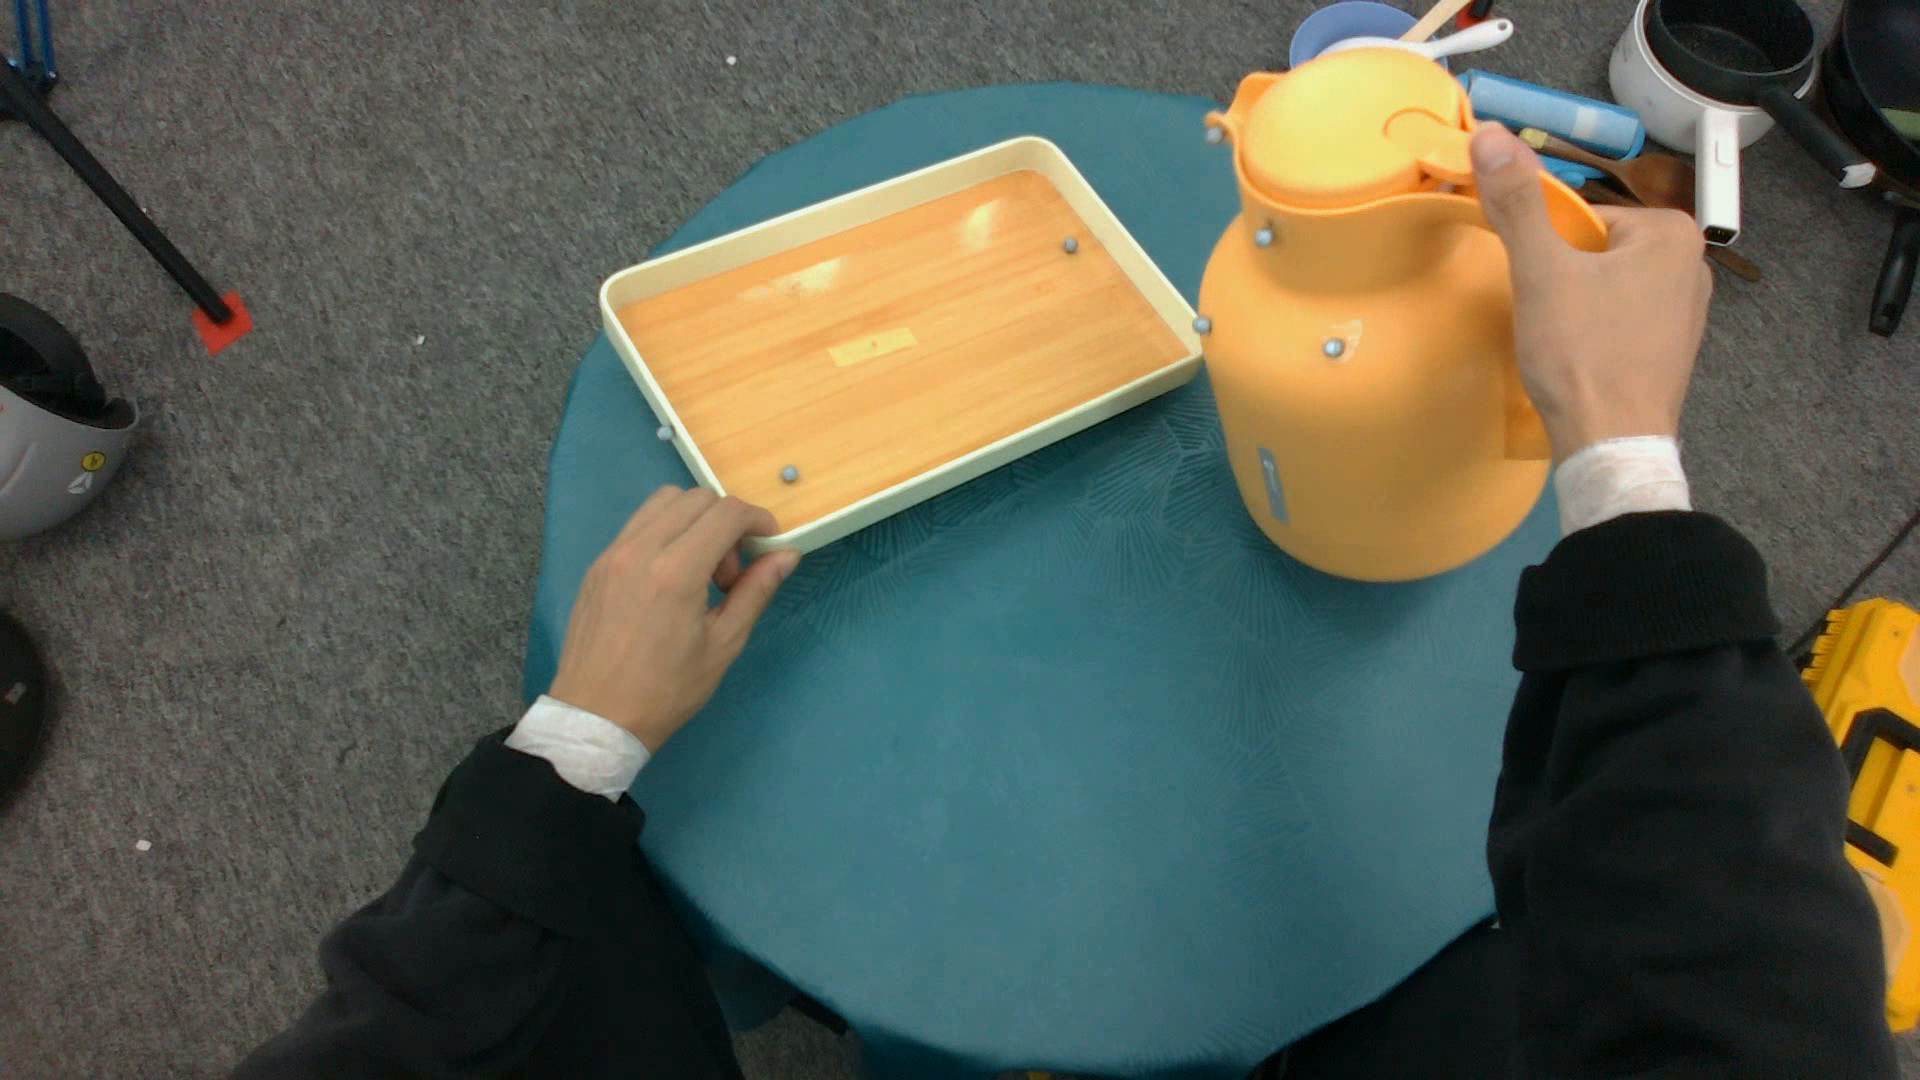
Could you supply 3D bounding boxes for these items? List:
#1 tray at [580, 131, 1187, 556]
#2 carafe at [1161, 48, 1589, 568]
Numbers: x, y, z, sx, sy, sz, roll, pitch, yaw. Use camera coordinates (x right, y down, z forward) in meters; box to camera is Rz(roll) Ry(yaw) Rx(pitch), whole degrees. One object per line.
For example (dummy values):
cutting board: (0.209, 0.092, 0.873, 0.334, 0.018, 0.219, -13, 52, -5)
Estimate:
tray: (-0.036, -0.121, 0.768, 0.301, 0.027, 0.192, -25, 66, -24)
carafe: (0.200, -0.102, 0.661, 0.164, 0.260, 0.202, -48, 49, -11)
